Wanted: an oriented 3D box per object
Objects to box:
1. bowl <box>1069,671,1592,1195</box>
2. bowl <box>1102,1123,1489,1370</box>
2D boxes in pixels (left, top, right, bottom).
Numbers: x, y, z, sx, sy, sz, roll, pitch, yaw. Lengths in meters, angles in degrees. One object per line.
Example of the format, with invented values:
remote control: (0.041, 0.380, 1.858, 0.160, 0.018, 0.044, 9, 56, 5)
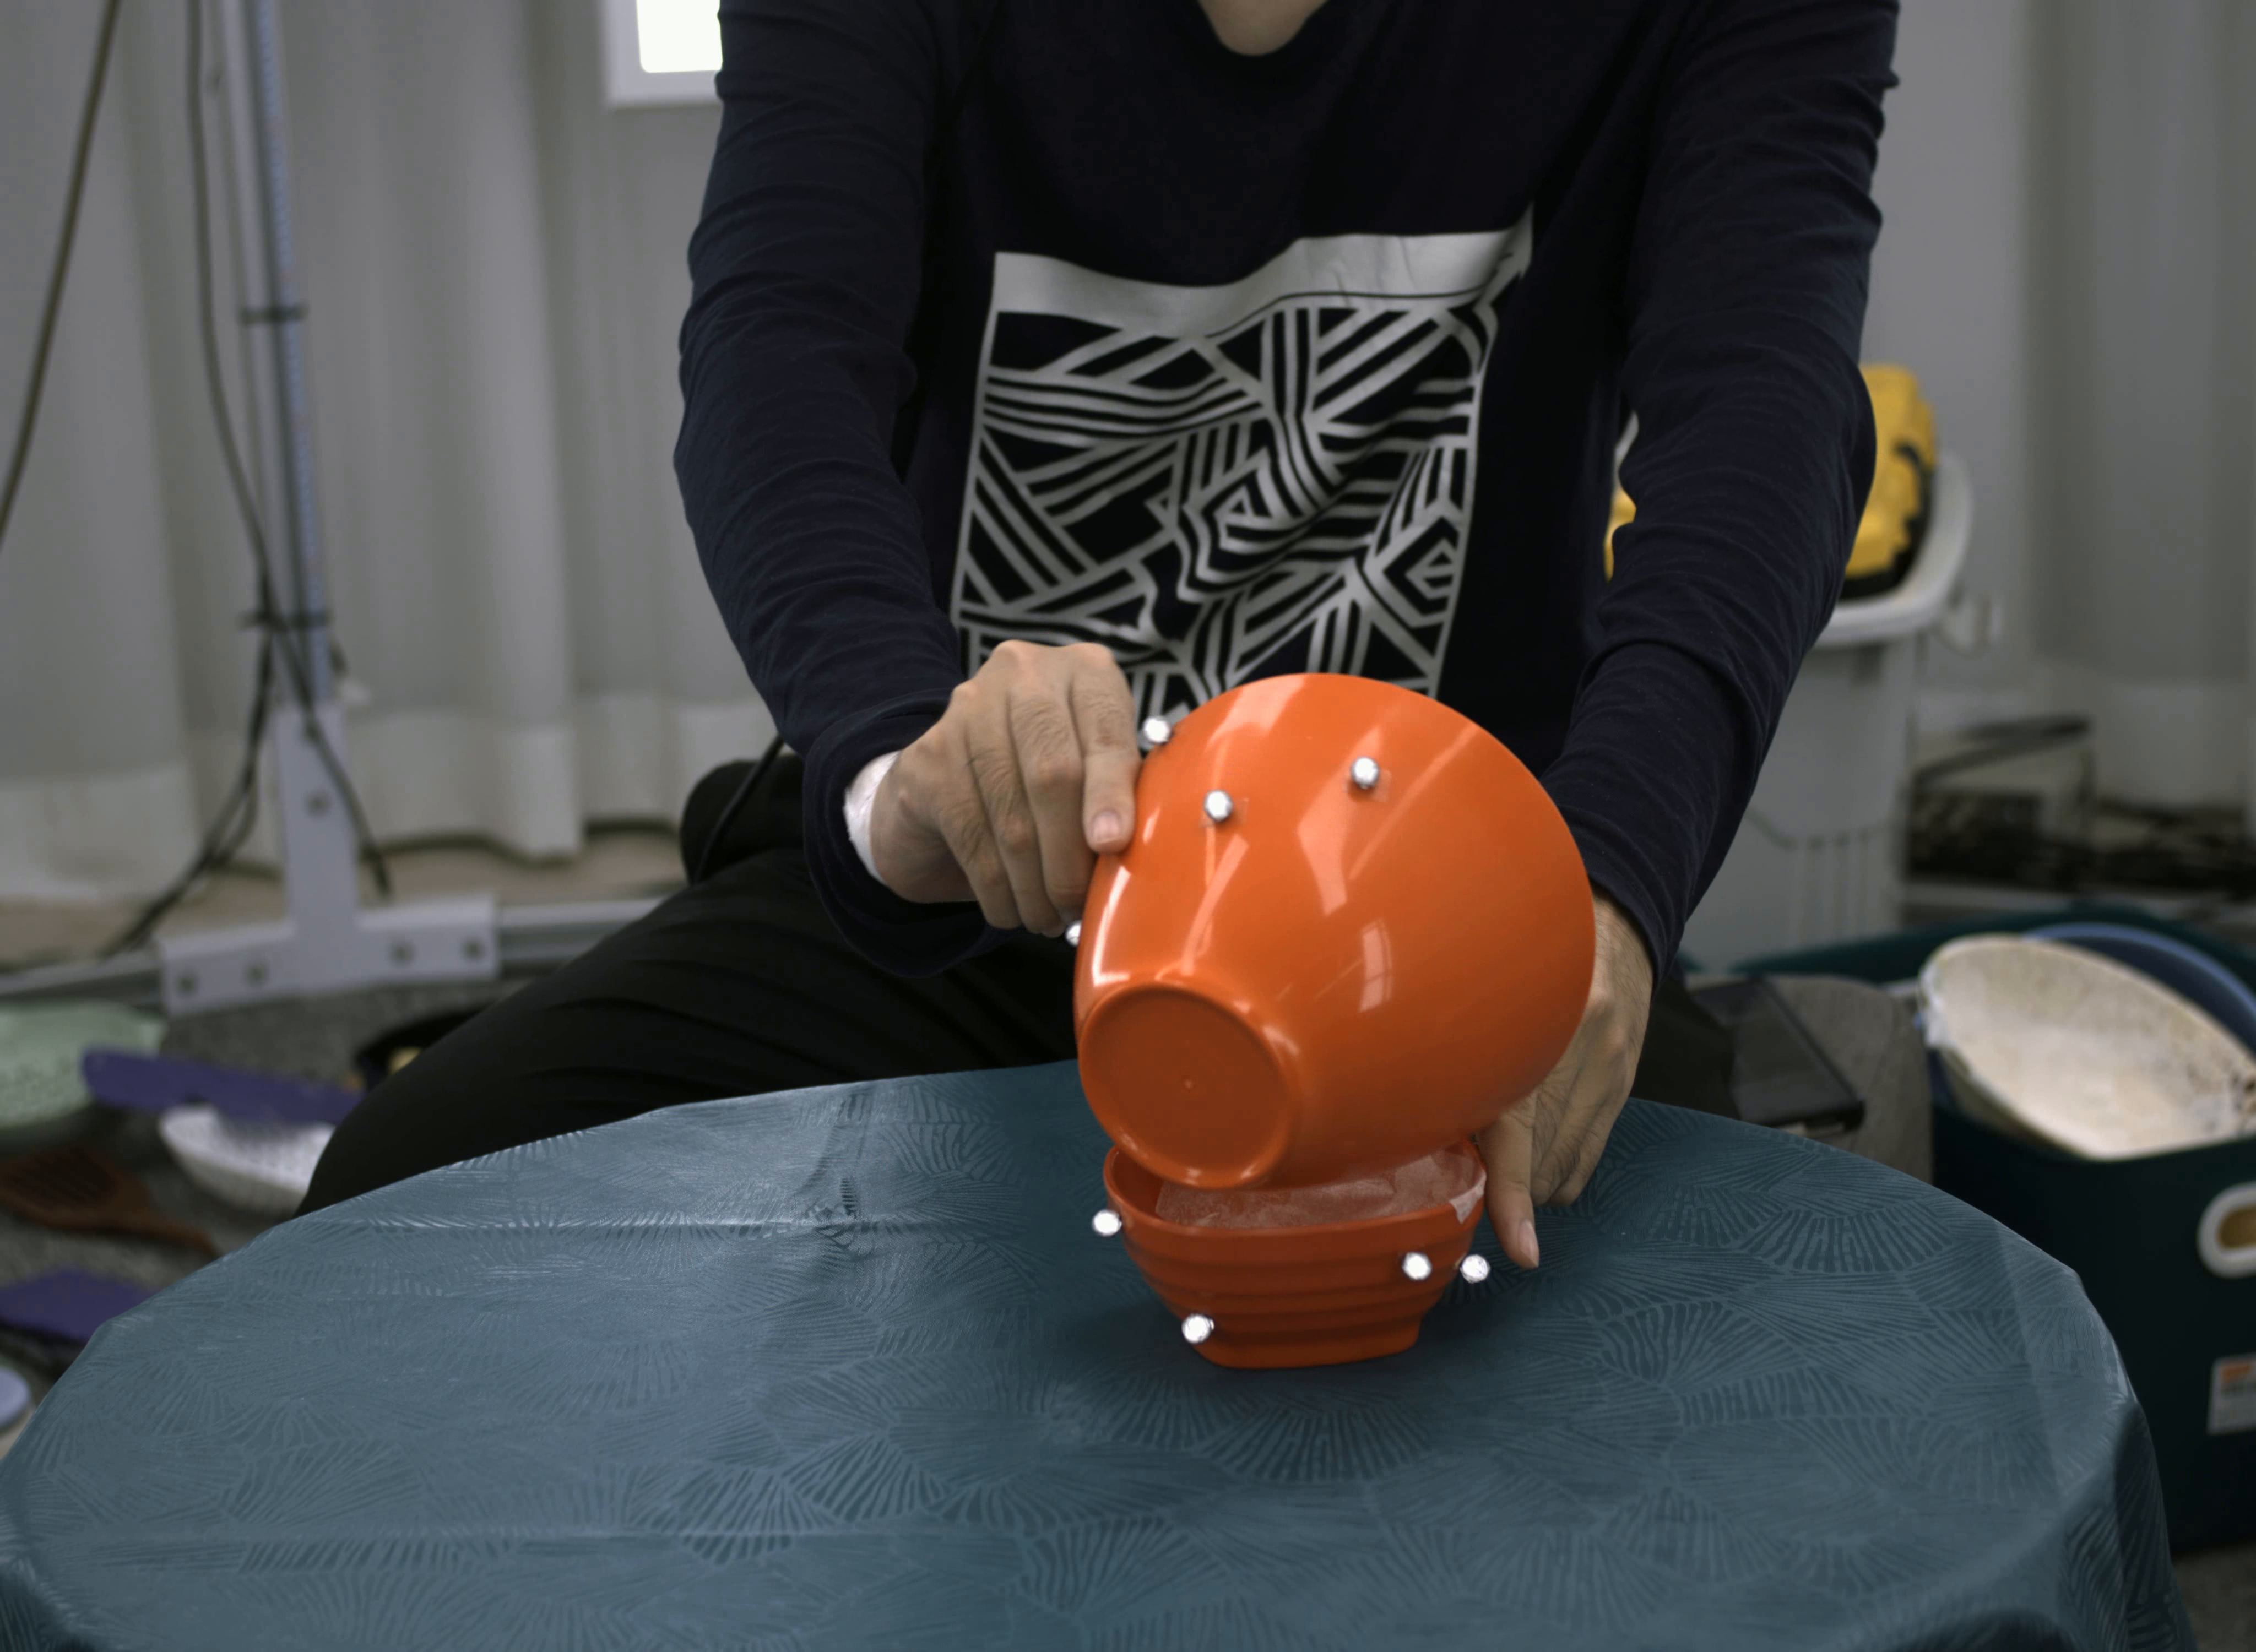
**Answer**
bowl: (0.044, 0.043, 1.537, 0.148, 0.147, 0.105, 5, 28, 28)
bowl: (0.050, 0.120, 1.583, 0.118, 0.051, 0.120, -5, 16, 1)
